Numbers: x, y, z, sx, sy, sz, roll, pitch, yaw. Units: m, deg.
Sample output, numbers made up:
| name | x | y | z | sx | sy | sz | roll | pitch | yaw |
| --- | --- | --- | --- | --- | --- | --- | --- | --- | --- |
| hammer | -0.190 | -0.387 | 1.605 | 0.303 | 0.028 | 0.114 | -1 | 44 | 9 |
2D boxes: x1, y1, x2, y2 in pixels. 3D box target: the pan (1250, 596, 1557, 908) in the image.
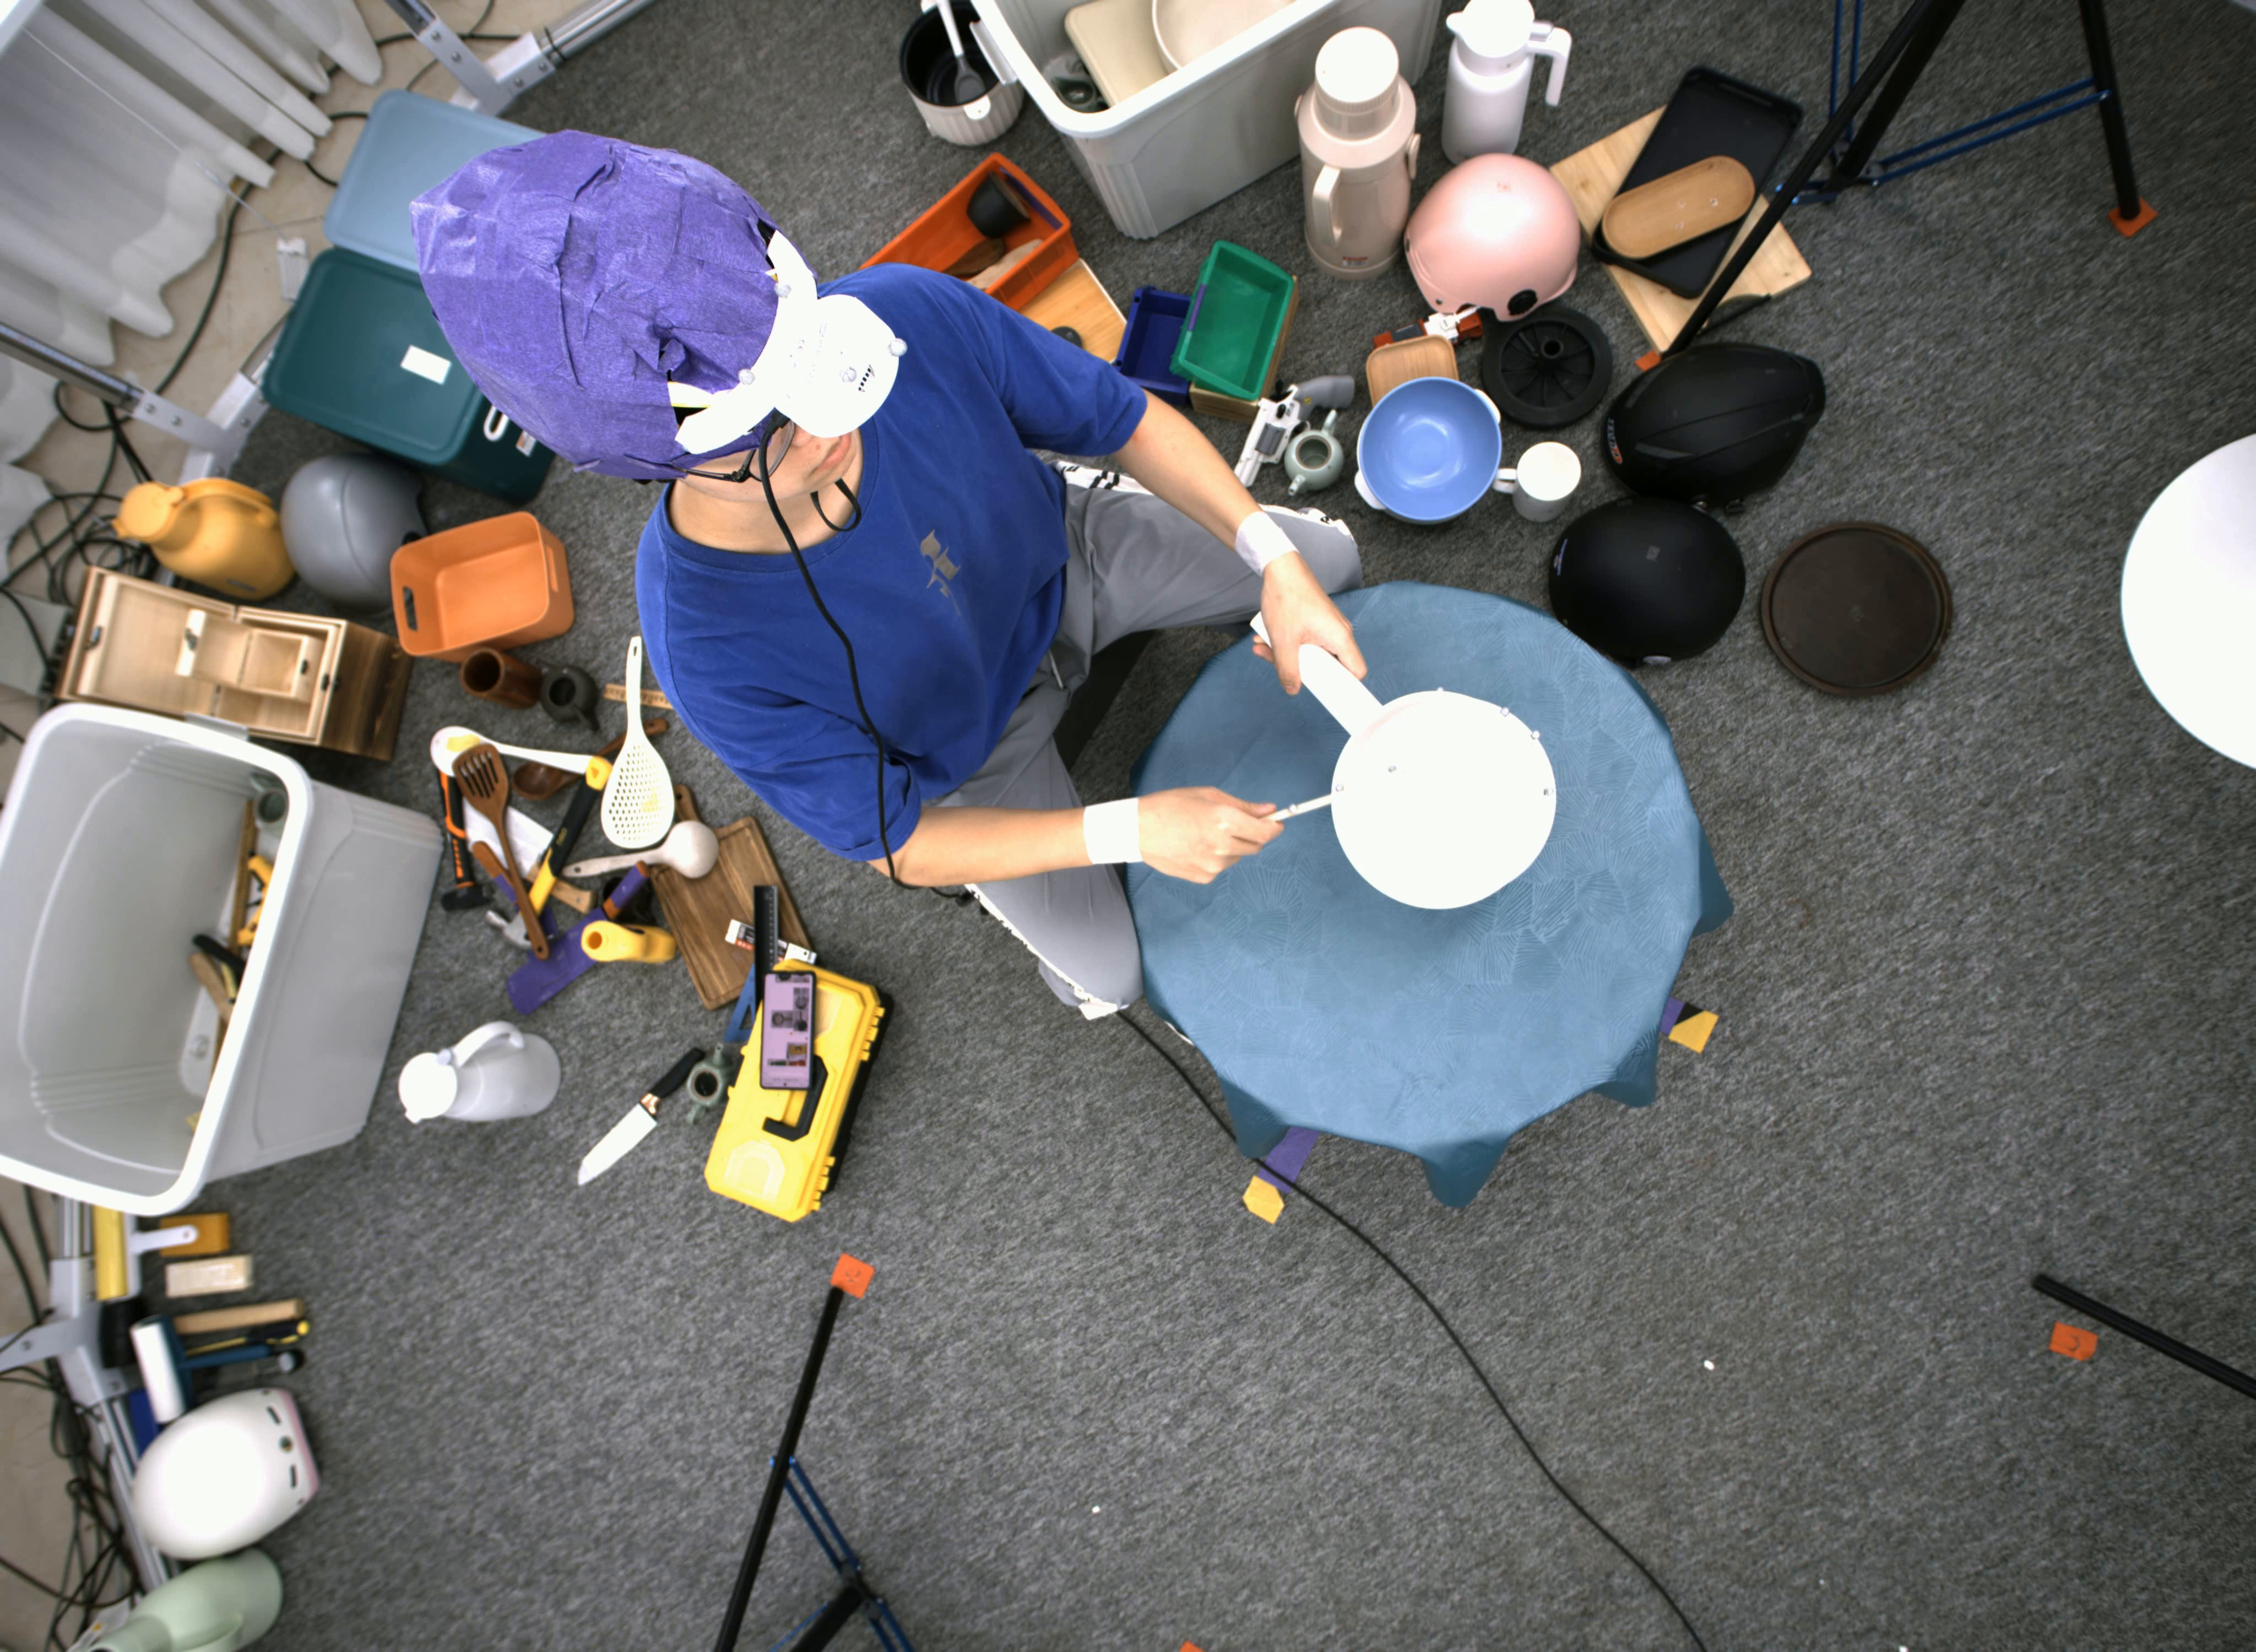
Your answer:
| name | x | y | z | sx | sy | sz | roll | pitch | yaw |
| --- | --- | --- | --- | --- | --- | --- | --- | --- | --- |
| pan | 0.259 | -0.085 | 1.331 | 0.352 | 0.101 | 0.205 | 50 | 119 | 15 |

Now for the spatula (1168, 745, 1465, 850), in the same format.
| name | x | y | z | sx | sy | sz | roll | pitch | yaw |
| --- | --- | --- | --- | --- | --- | --- | --- | --- | --- |
| spatula | 0.175 | -0.026 | 1.296 | 0.295 | 0.072 | 0.010 | -19 | 88 | 12 |
